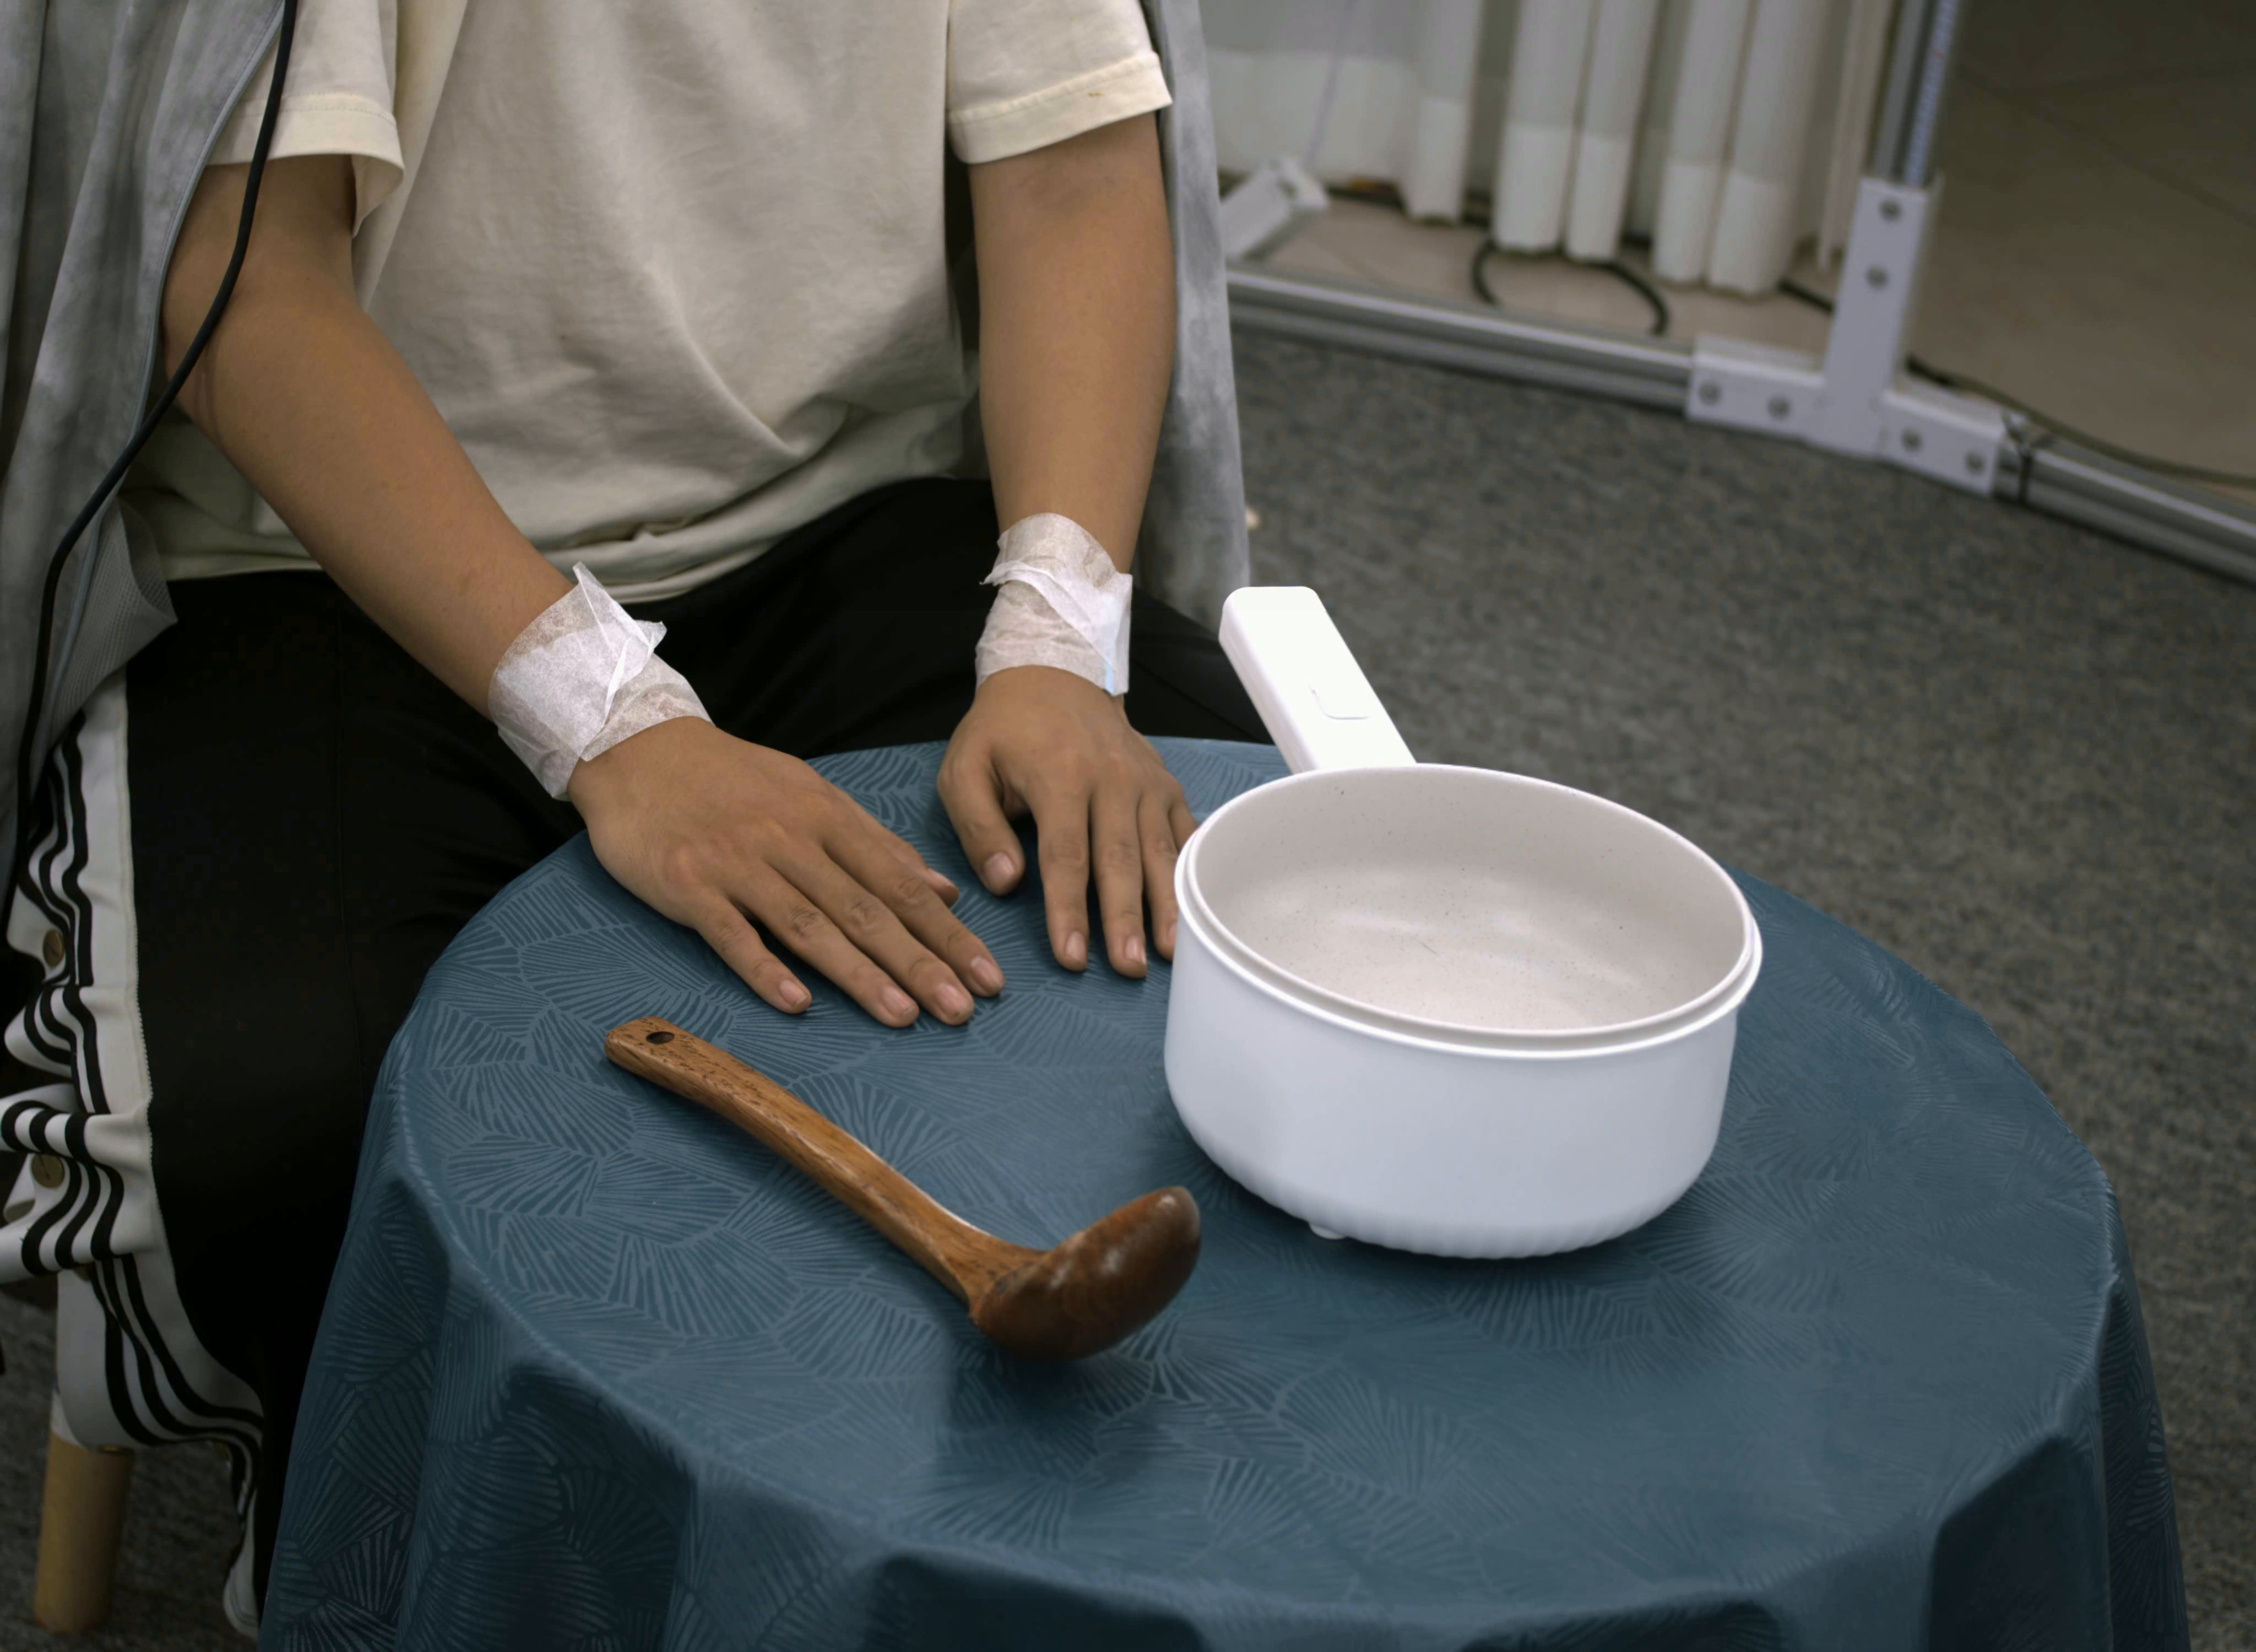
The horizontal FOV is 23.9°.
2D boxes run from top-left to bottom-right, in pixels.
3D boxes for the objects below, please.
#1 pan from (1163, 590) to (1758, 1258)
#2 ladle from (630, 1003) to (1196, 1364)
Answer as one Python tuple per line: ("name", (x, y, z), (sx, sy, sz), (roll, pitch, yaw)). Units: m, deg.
("pan", (0.093, 0.032, 1.898), (0.200, 0.102, 0.358), (-1, 27, -14))
("ladle", (-0.082, 0.098, 1.750), (0.081, 0.076, 0.276), (-16, 35, -36))
